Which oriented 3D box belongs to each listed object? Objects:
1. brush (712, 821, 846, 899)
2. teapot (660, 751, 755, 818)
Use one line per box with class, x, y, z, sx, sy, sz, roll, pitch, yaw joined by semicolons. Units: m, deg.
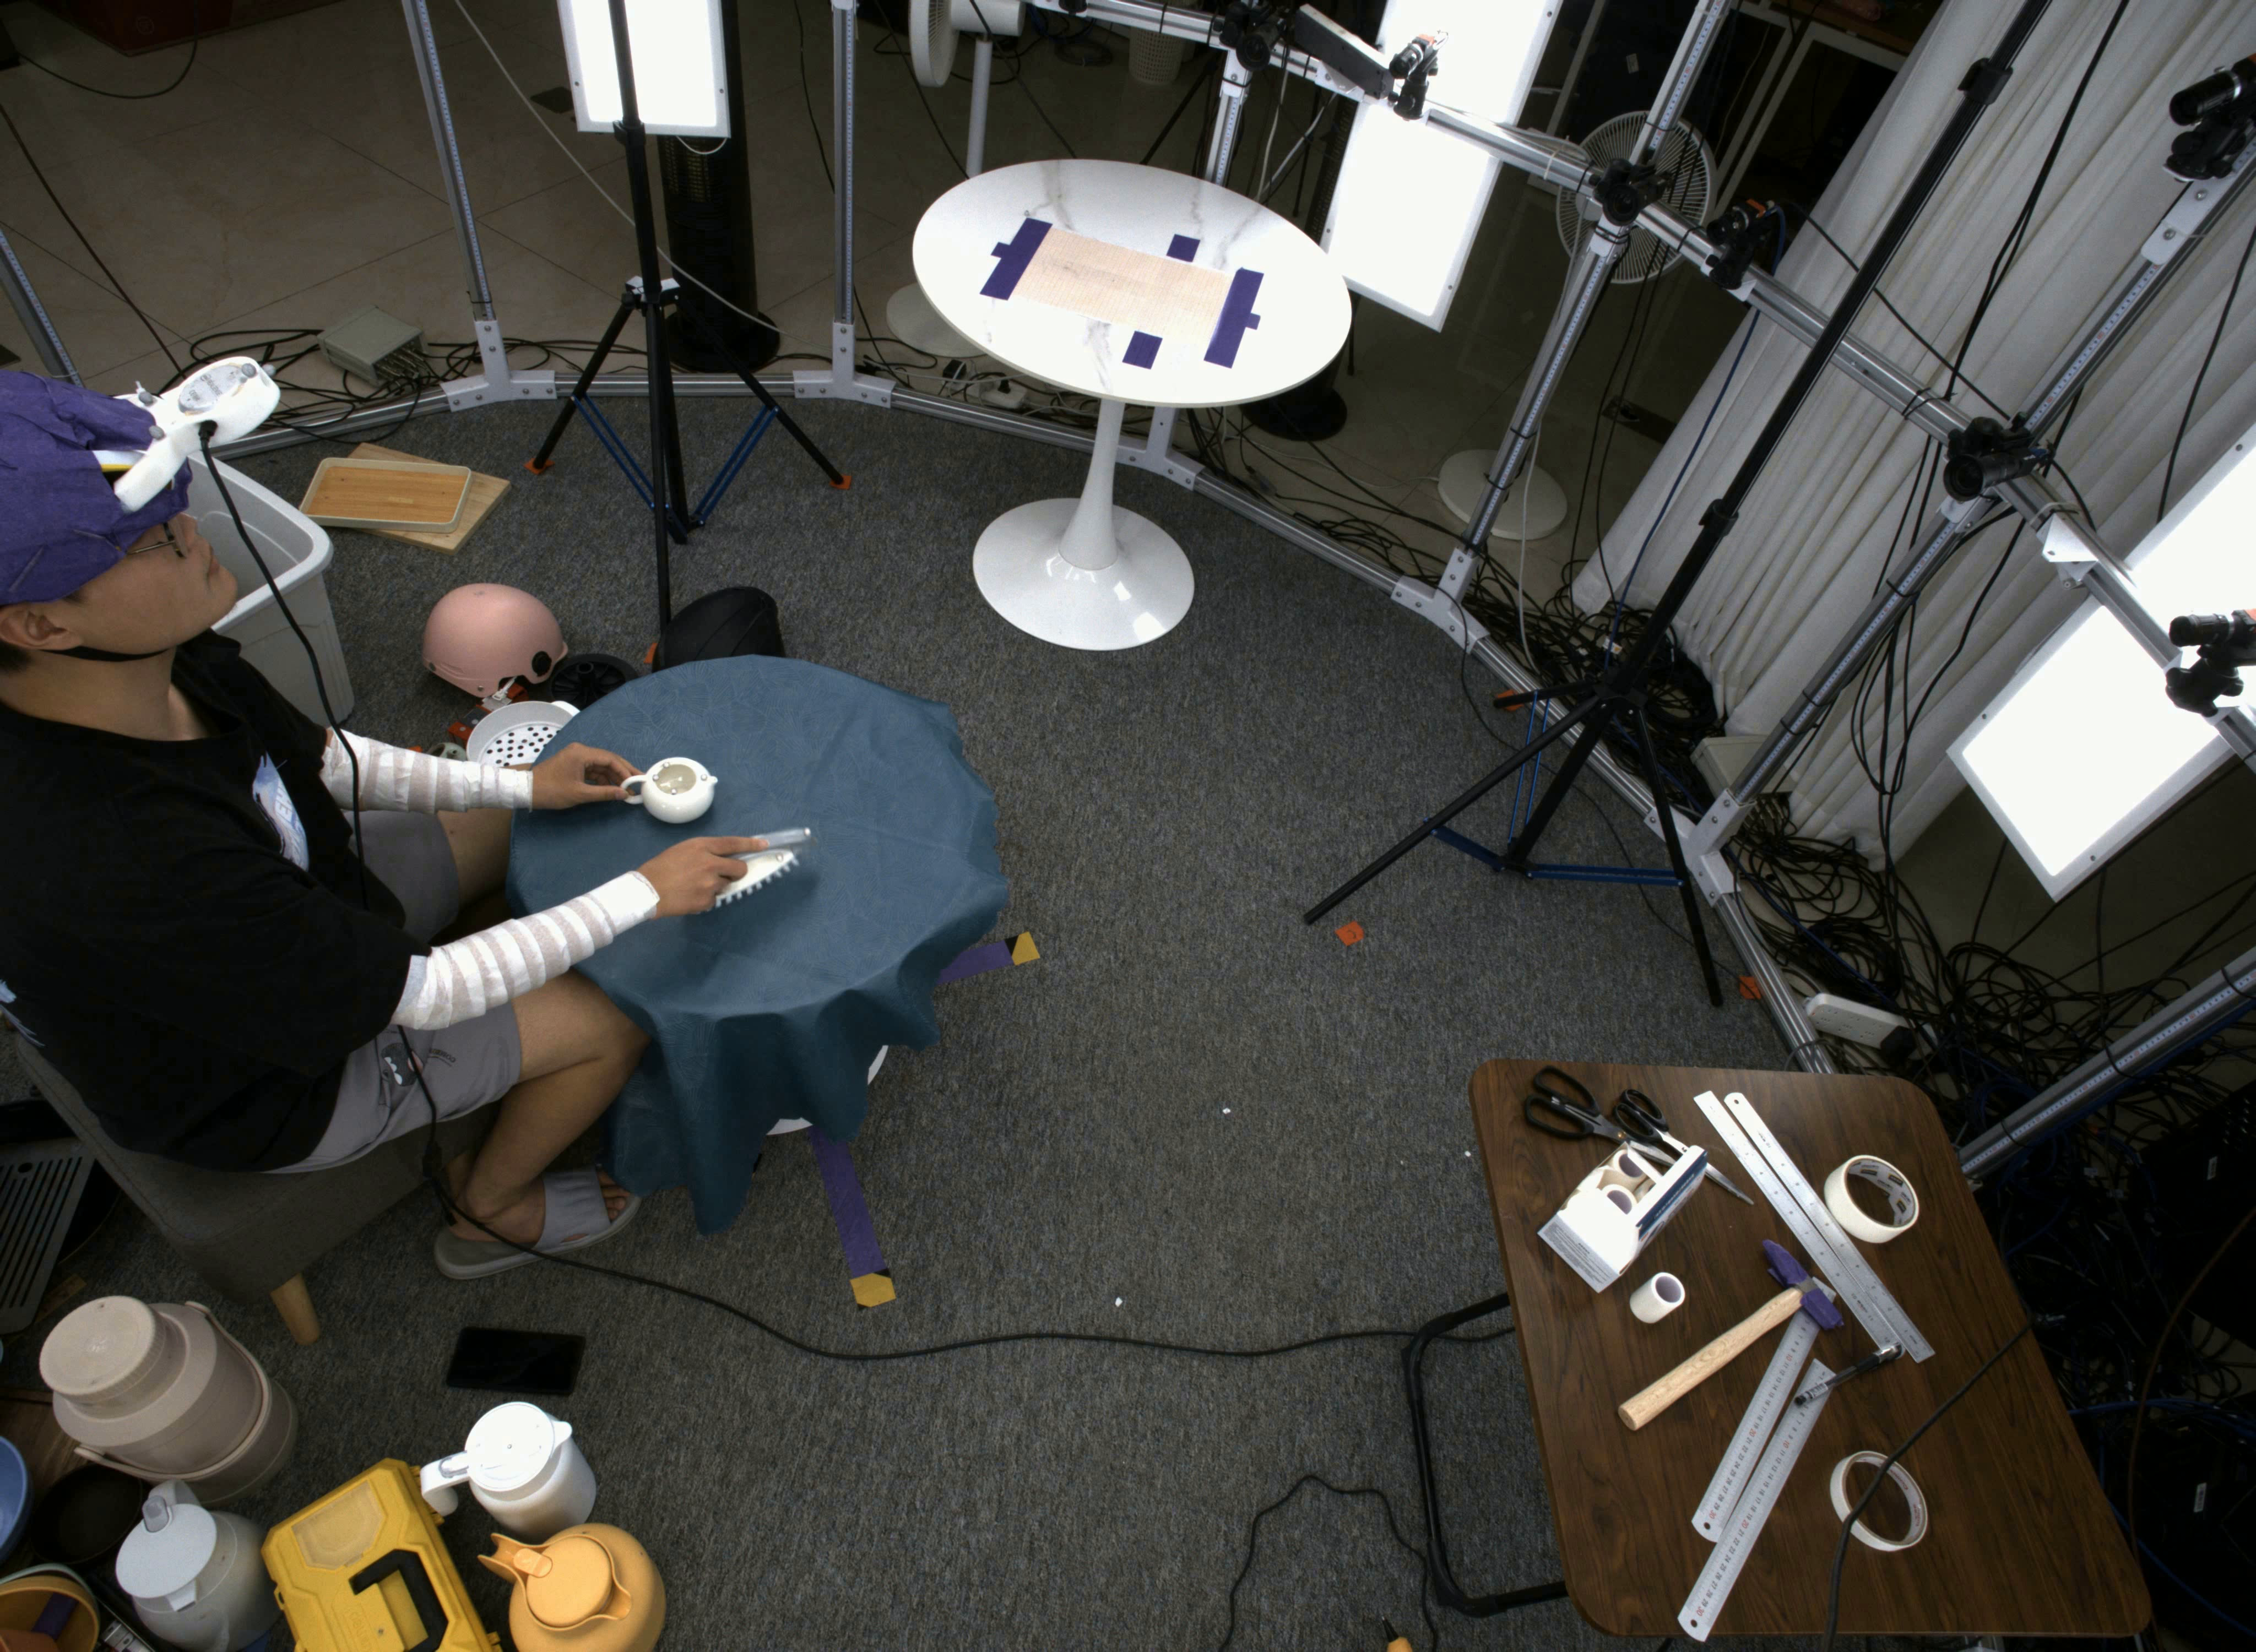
brush;-0.435;0.027;1.620;0.175;0.094;0.061;-23;82;-18
teapot;-0.557;-0.056;1.708;0.127;0.058;0.092;1;57;-12
